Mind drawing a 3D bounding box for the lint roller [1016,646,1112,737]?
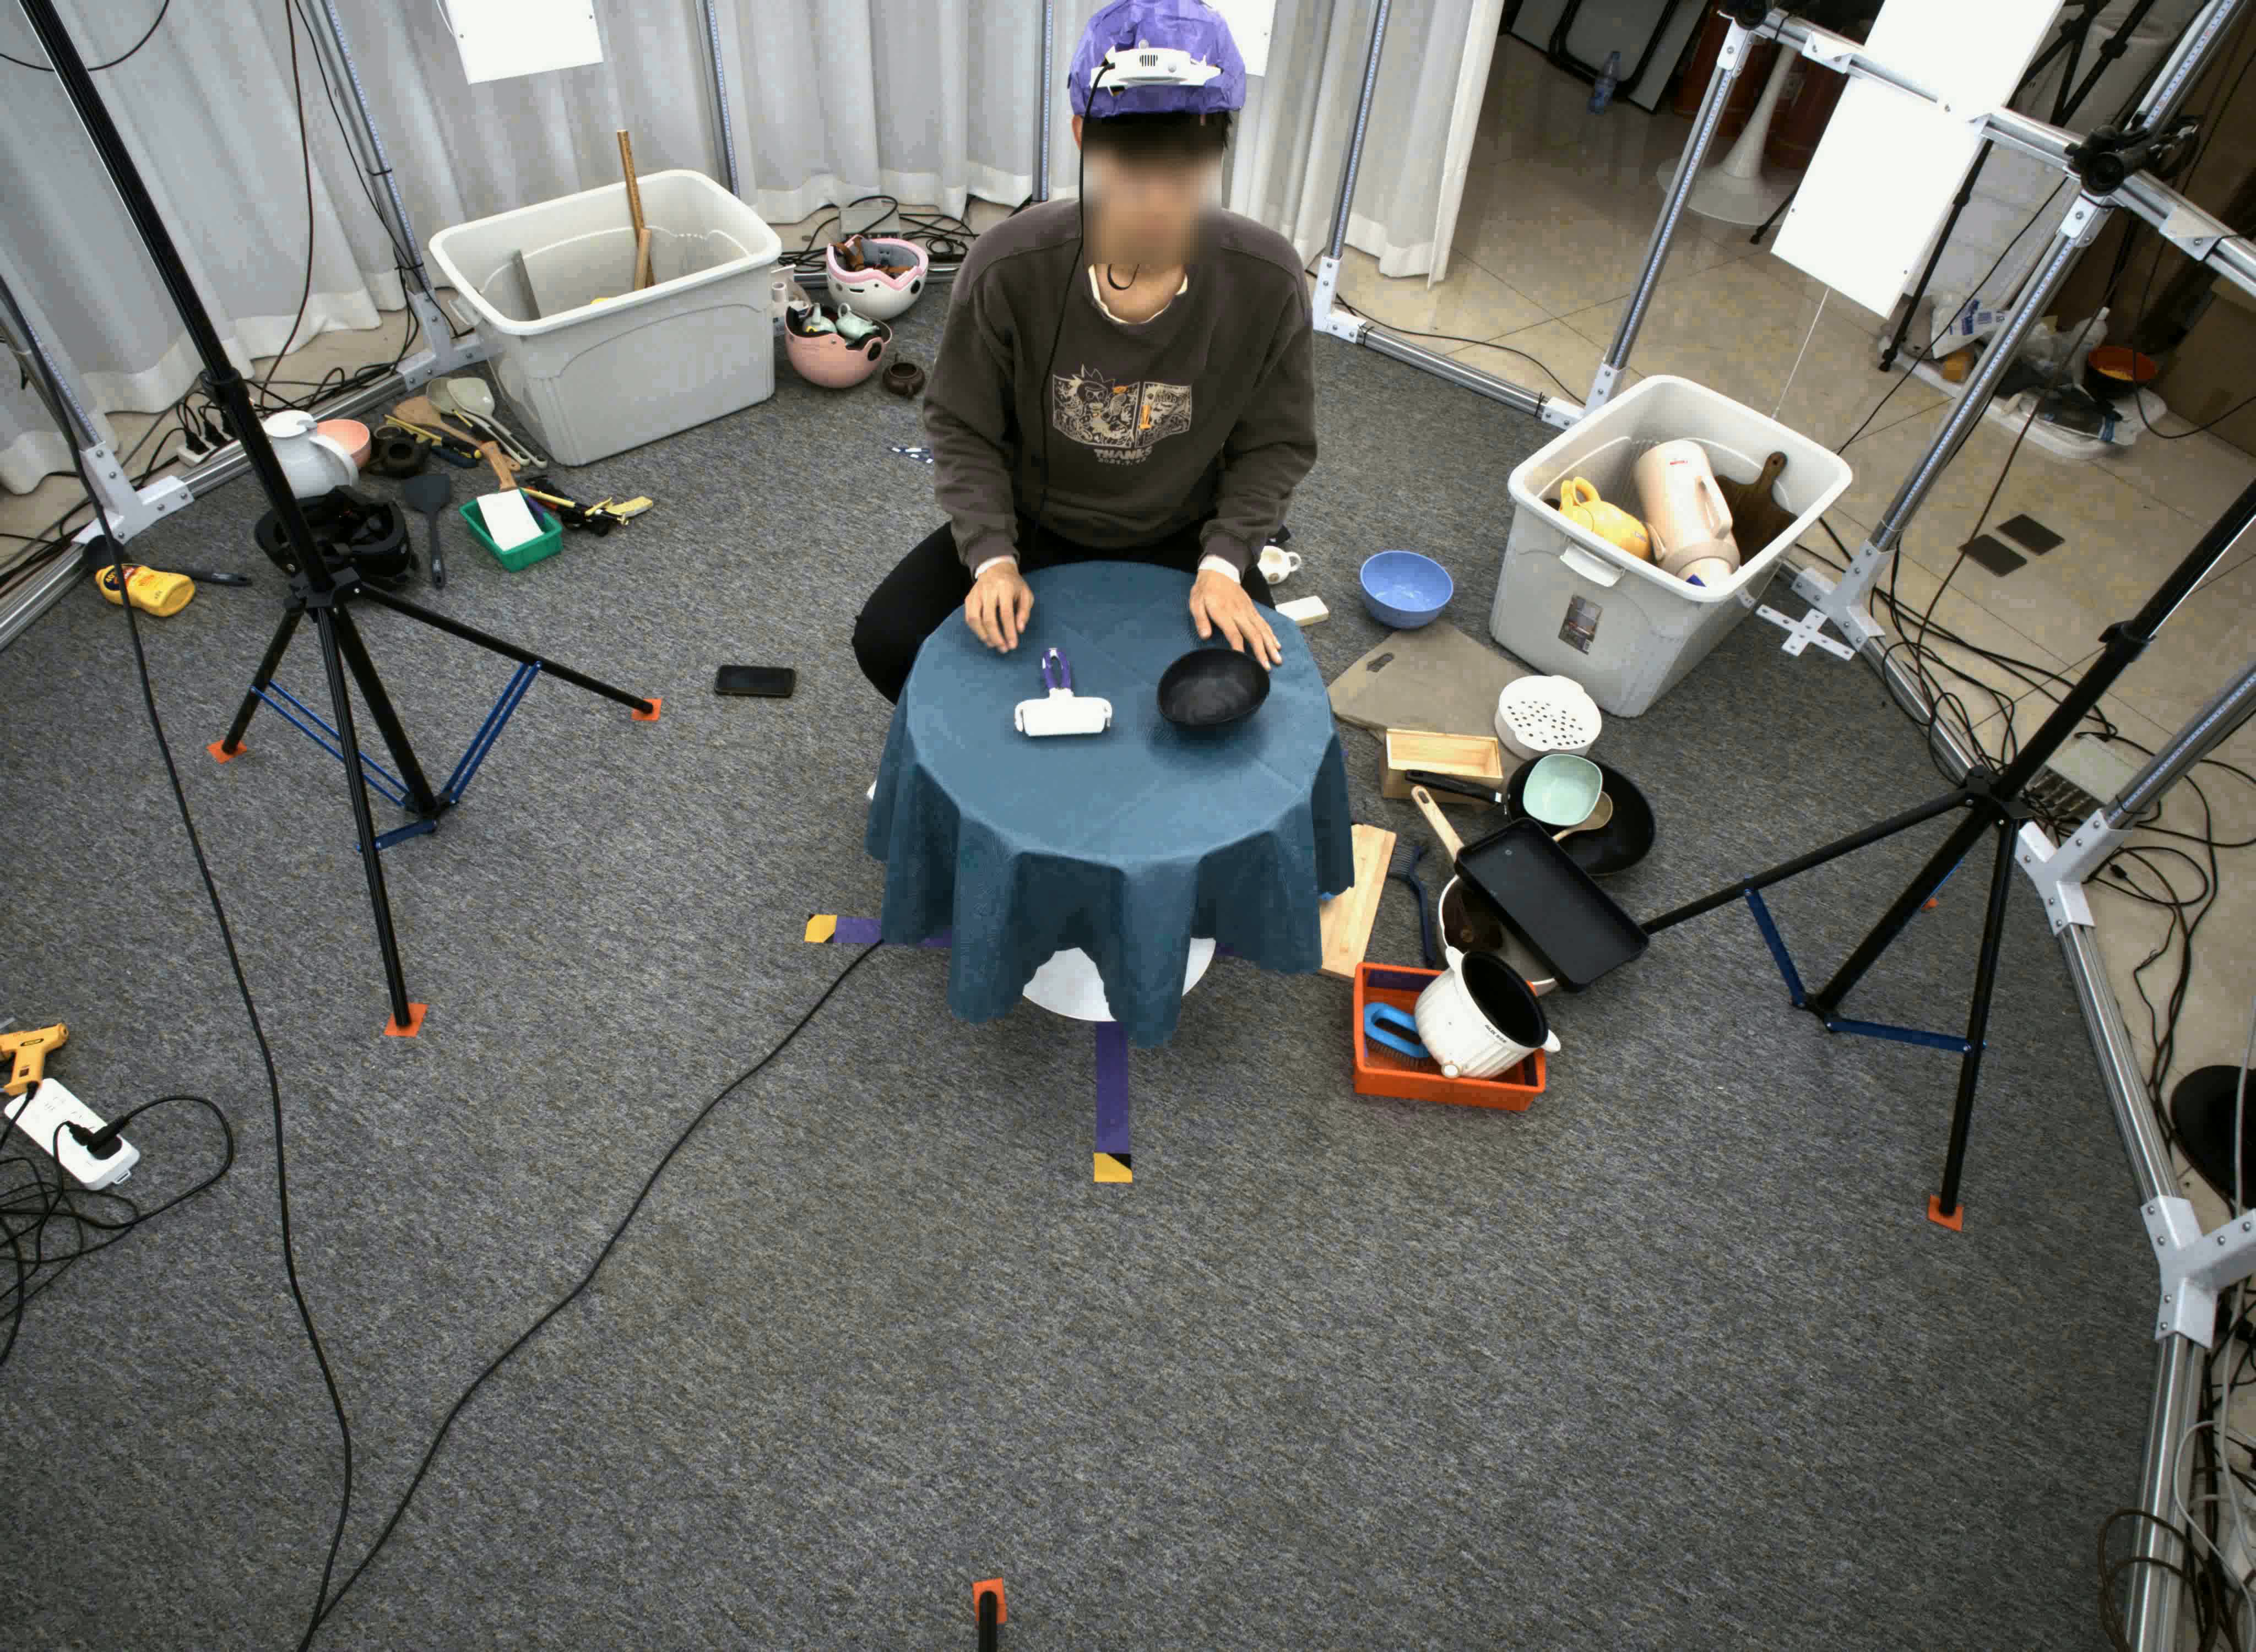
[{"bbox_3d":[-0.093,-0.200,1.803,0.133,0.049,0.185,-2,52,-5],"label":"lint roller"}]

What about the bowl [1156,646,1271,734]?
[{"bbox_3d":[0.118,-0.176,1.785,0.171,0.065,0.140,-30,56,-25],"label":"bowl"}]
